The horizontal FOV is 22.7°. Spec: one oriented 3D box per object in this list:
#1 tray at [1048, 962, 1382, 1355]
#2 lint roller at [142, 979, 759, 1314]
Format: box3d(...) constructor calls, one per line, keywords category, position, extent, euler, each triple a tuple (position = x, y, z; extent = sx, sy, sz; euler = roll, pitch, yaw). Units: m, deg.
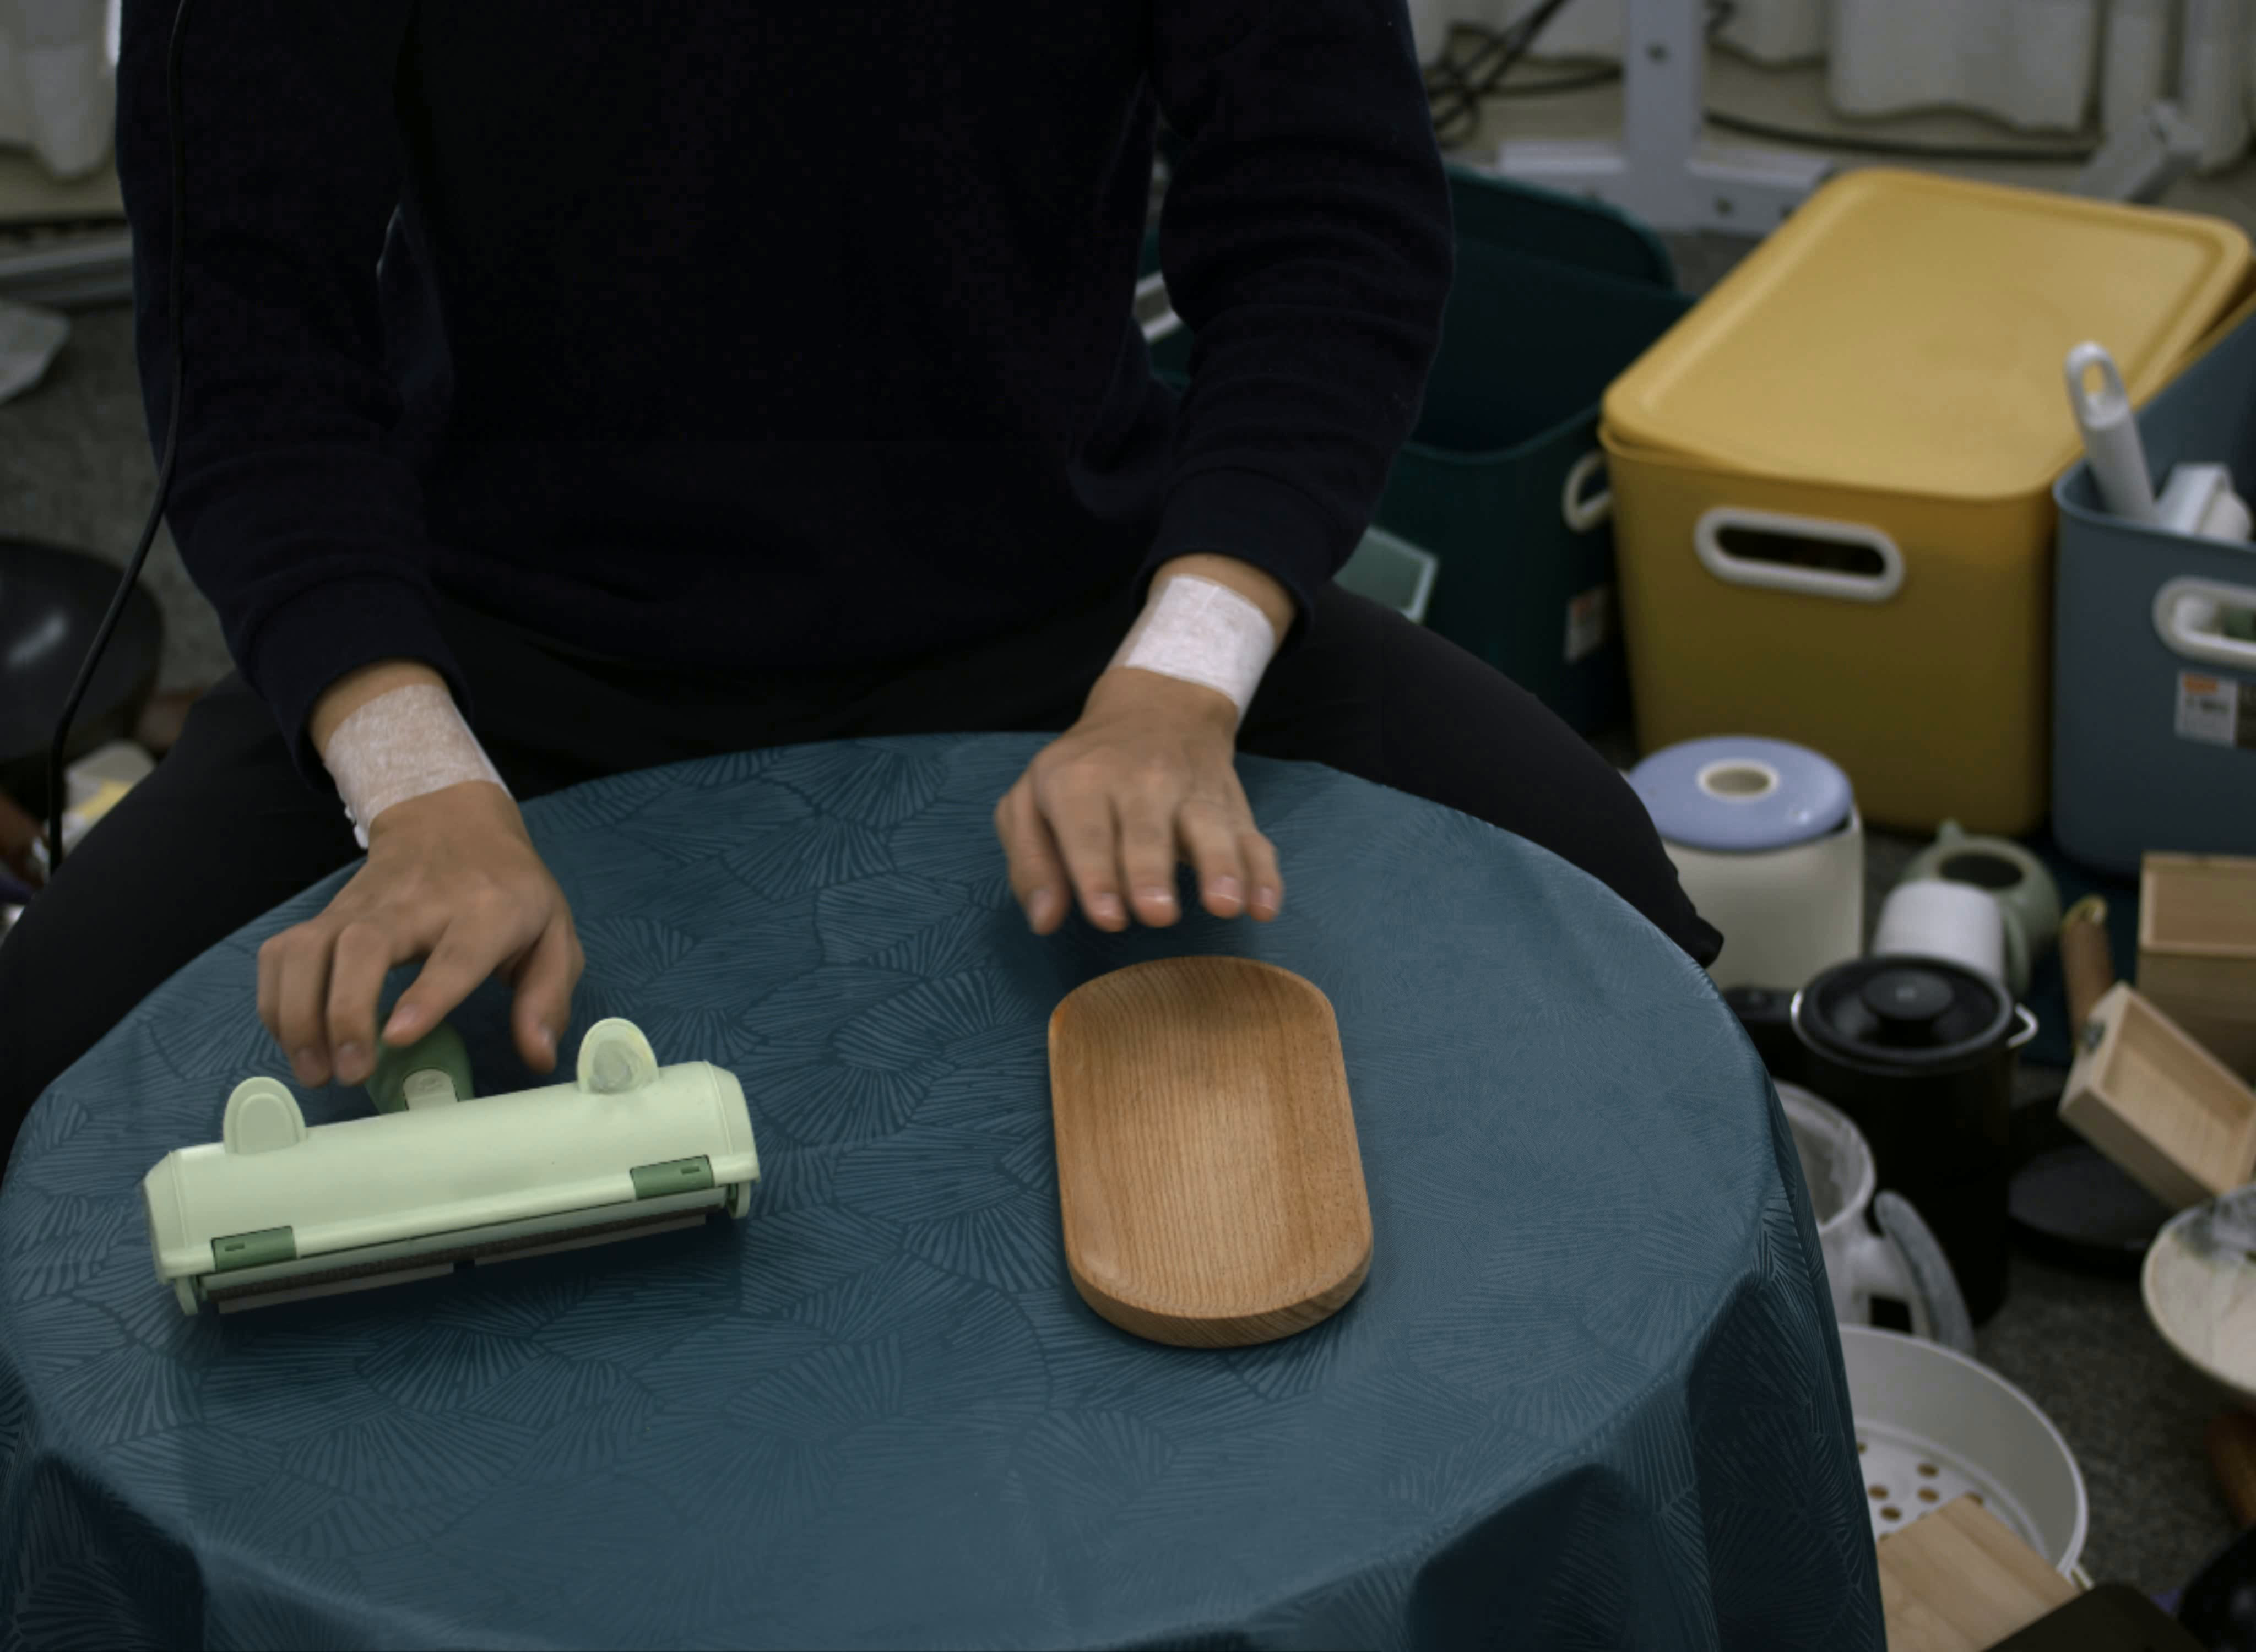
box3d(category="tray", position=(0.027, 0.108, 1.868), extent=(0.101, 0.020, 0.234), euler=(-5, 29, -2))
box3d(category="lint roller", position=(-0.235, 0.082, 1.869), extent=(0.198, 0.081, 0.185), euler=(-9, 34, -13))
